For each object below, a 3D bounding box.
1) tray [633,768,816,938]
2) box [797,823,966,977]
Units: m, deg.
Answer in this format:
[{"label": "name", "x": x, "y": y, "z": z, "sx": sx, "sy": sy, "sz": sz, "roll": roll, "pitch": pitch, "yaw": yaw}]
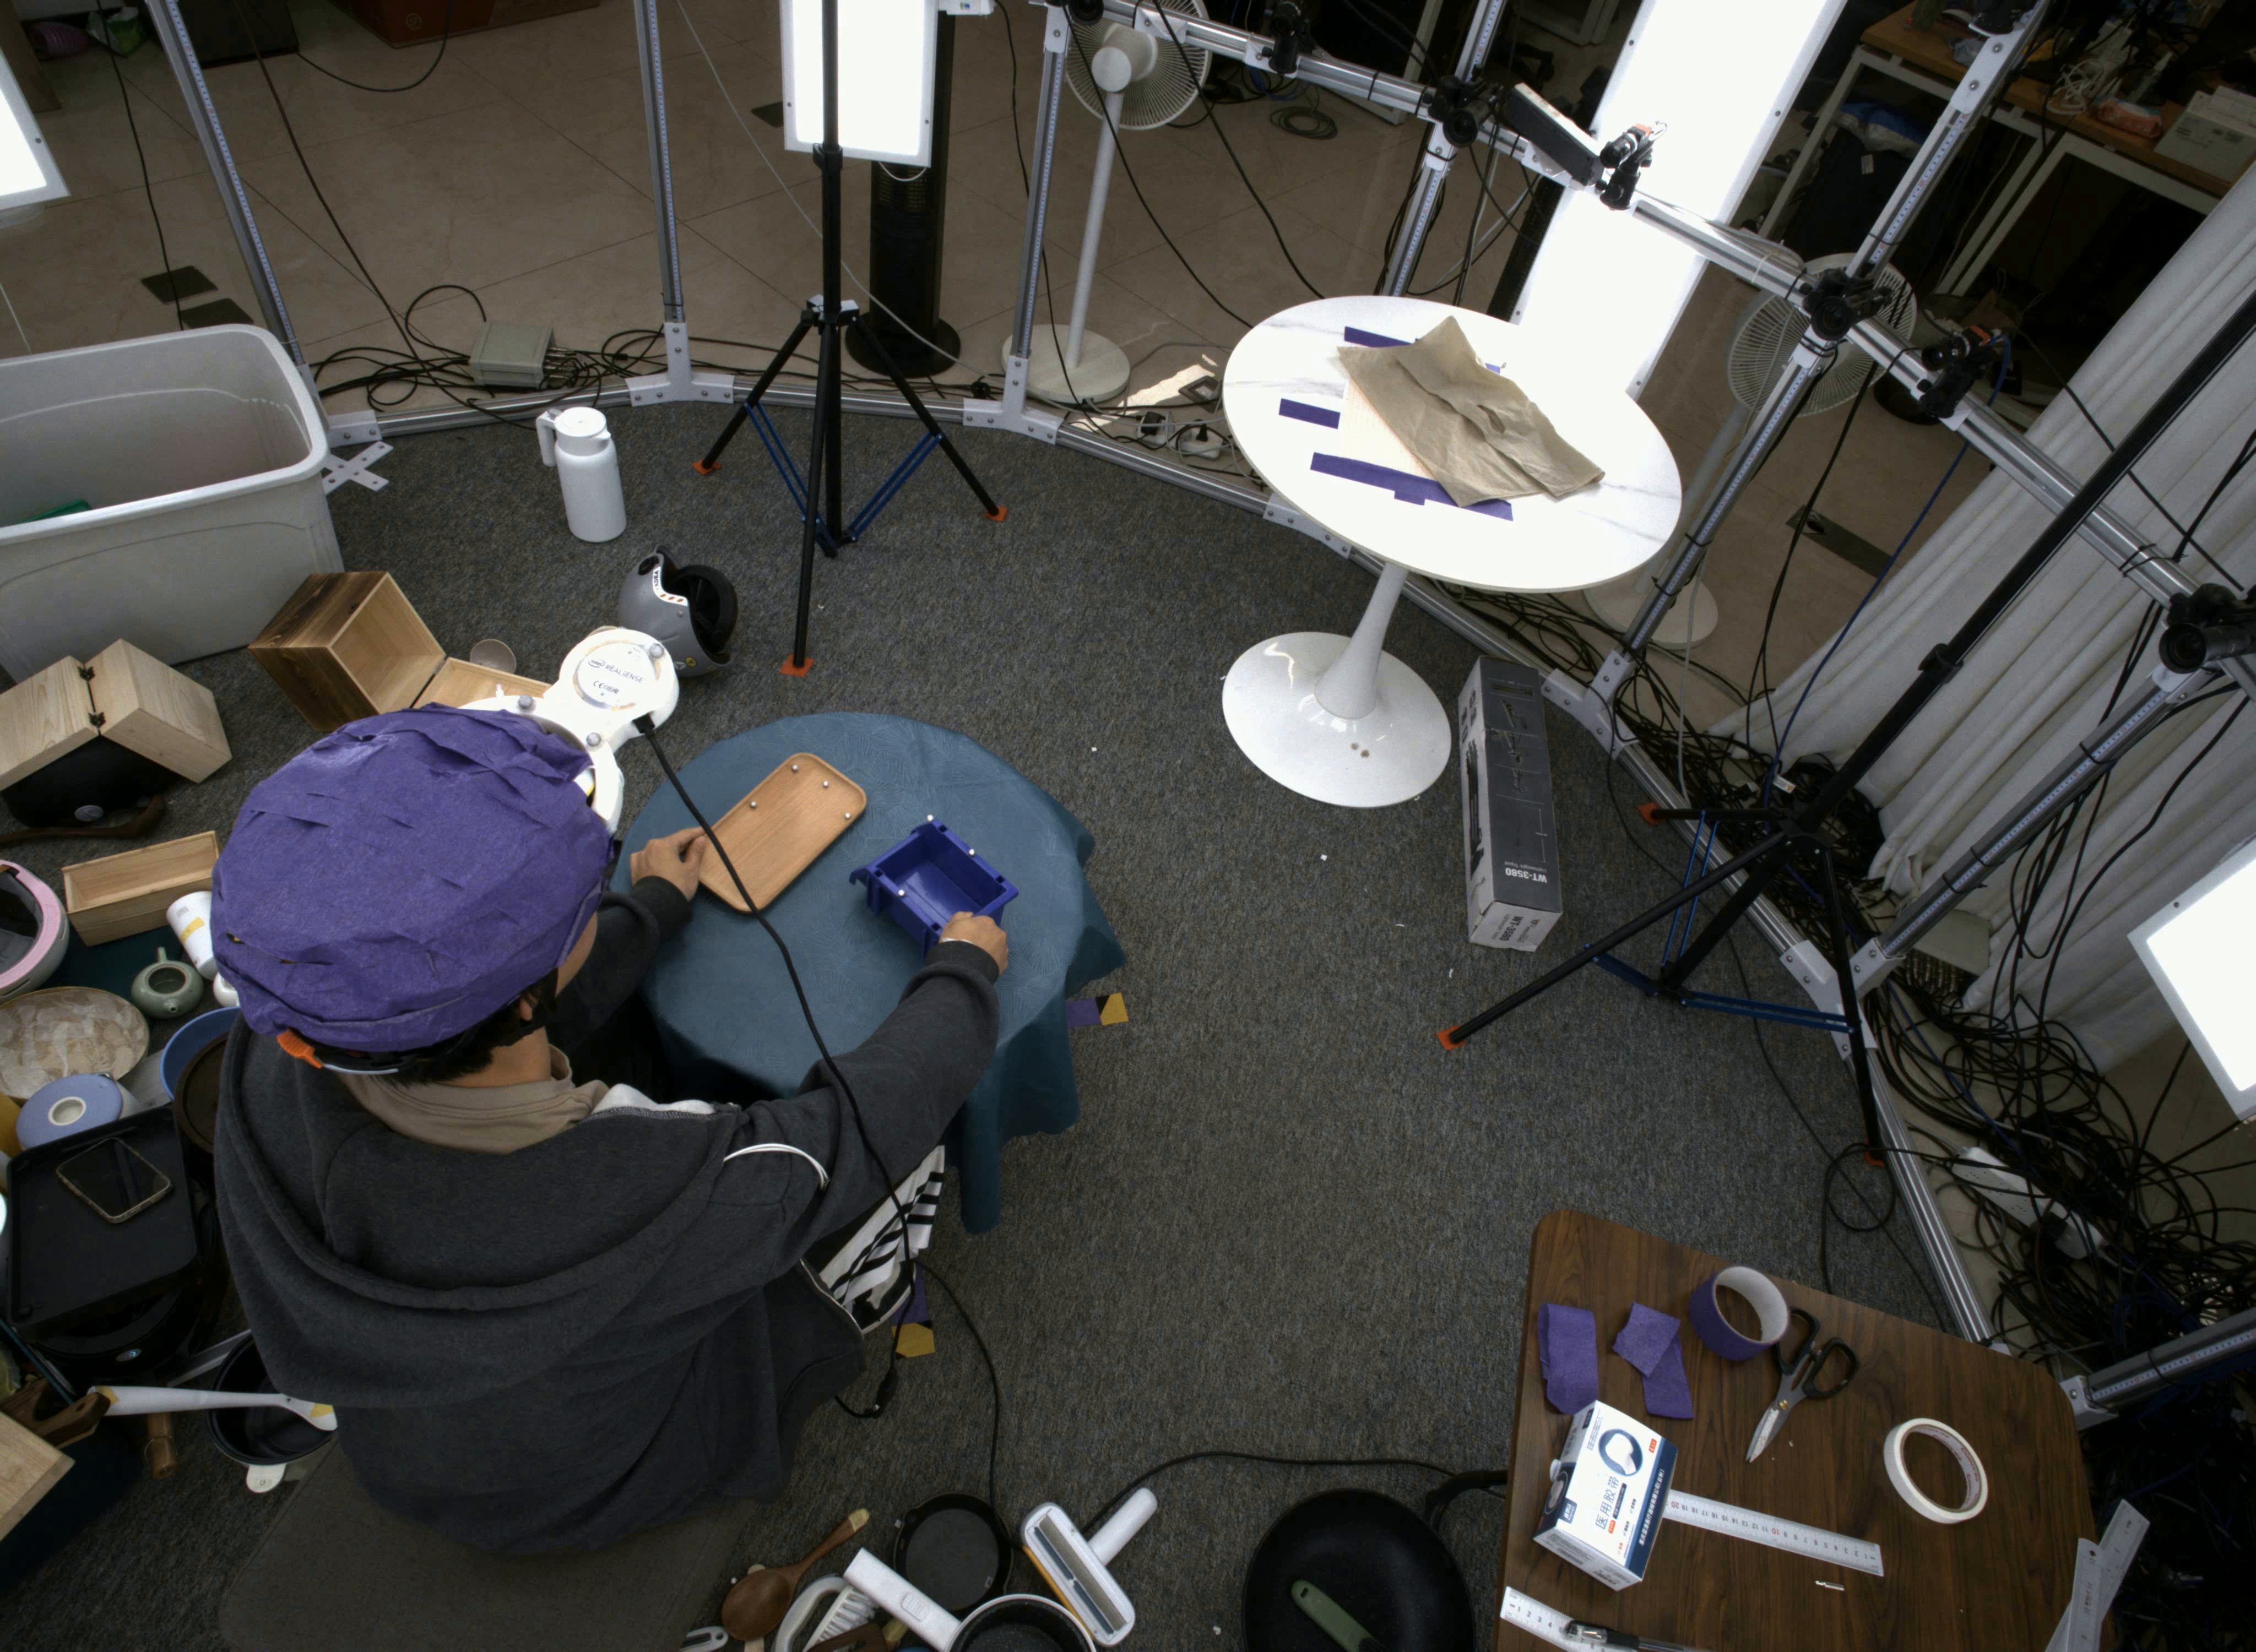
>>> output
[{"label": "tray", "x": -0.516, "y": 0.030, "z": 1.662, "sx": 0.129, "sy": 0.023, "sz": 0.249, "roll": 32, "pitch": 53, "yaw": 4}, {"label": "box", "x": -0.311, "y": 0.087, "z": 1.624, "sx": 0.176, "sy": 0.083, "sz": 0.124, "roll": 41, "pitch": 55, "yaw": 13}]
